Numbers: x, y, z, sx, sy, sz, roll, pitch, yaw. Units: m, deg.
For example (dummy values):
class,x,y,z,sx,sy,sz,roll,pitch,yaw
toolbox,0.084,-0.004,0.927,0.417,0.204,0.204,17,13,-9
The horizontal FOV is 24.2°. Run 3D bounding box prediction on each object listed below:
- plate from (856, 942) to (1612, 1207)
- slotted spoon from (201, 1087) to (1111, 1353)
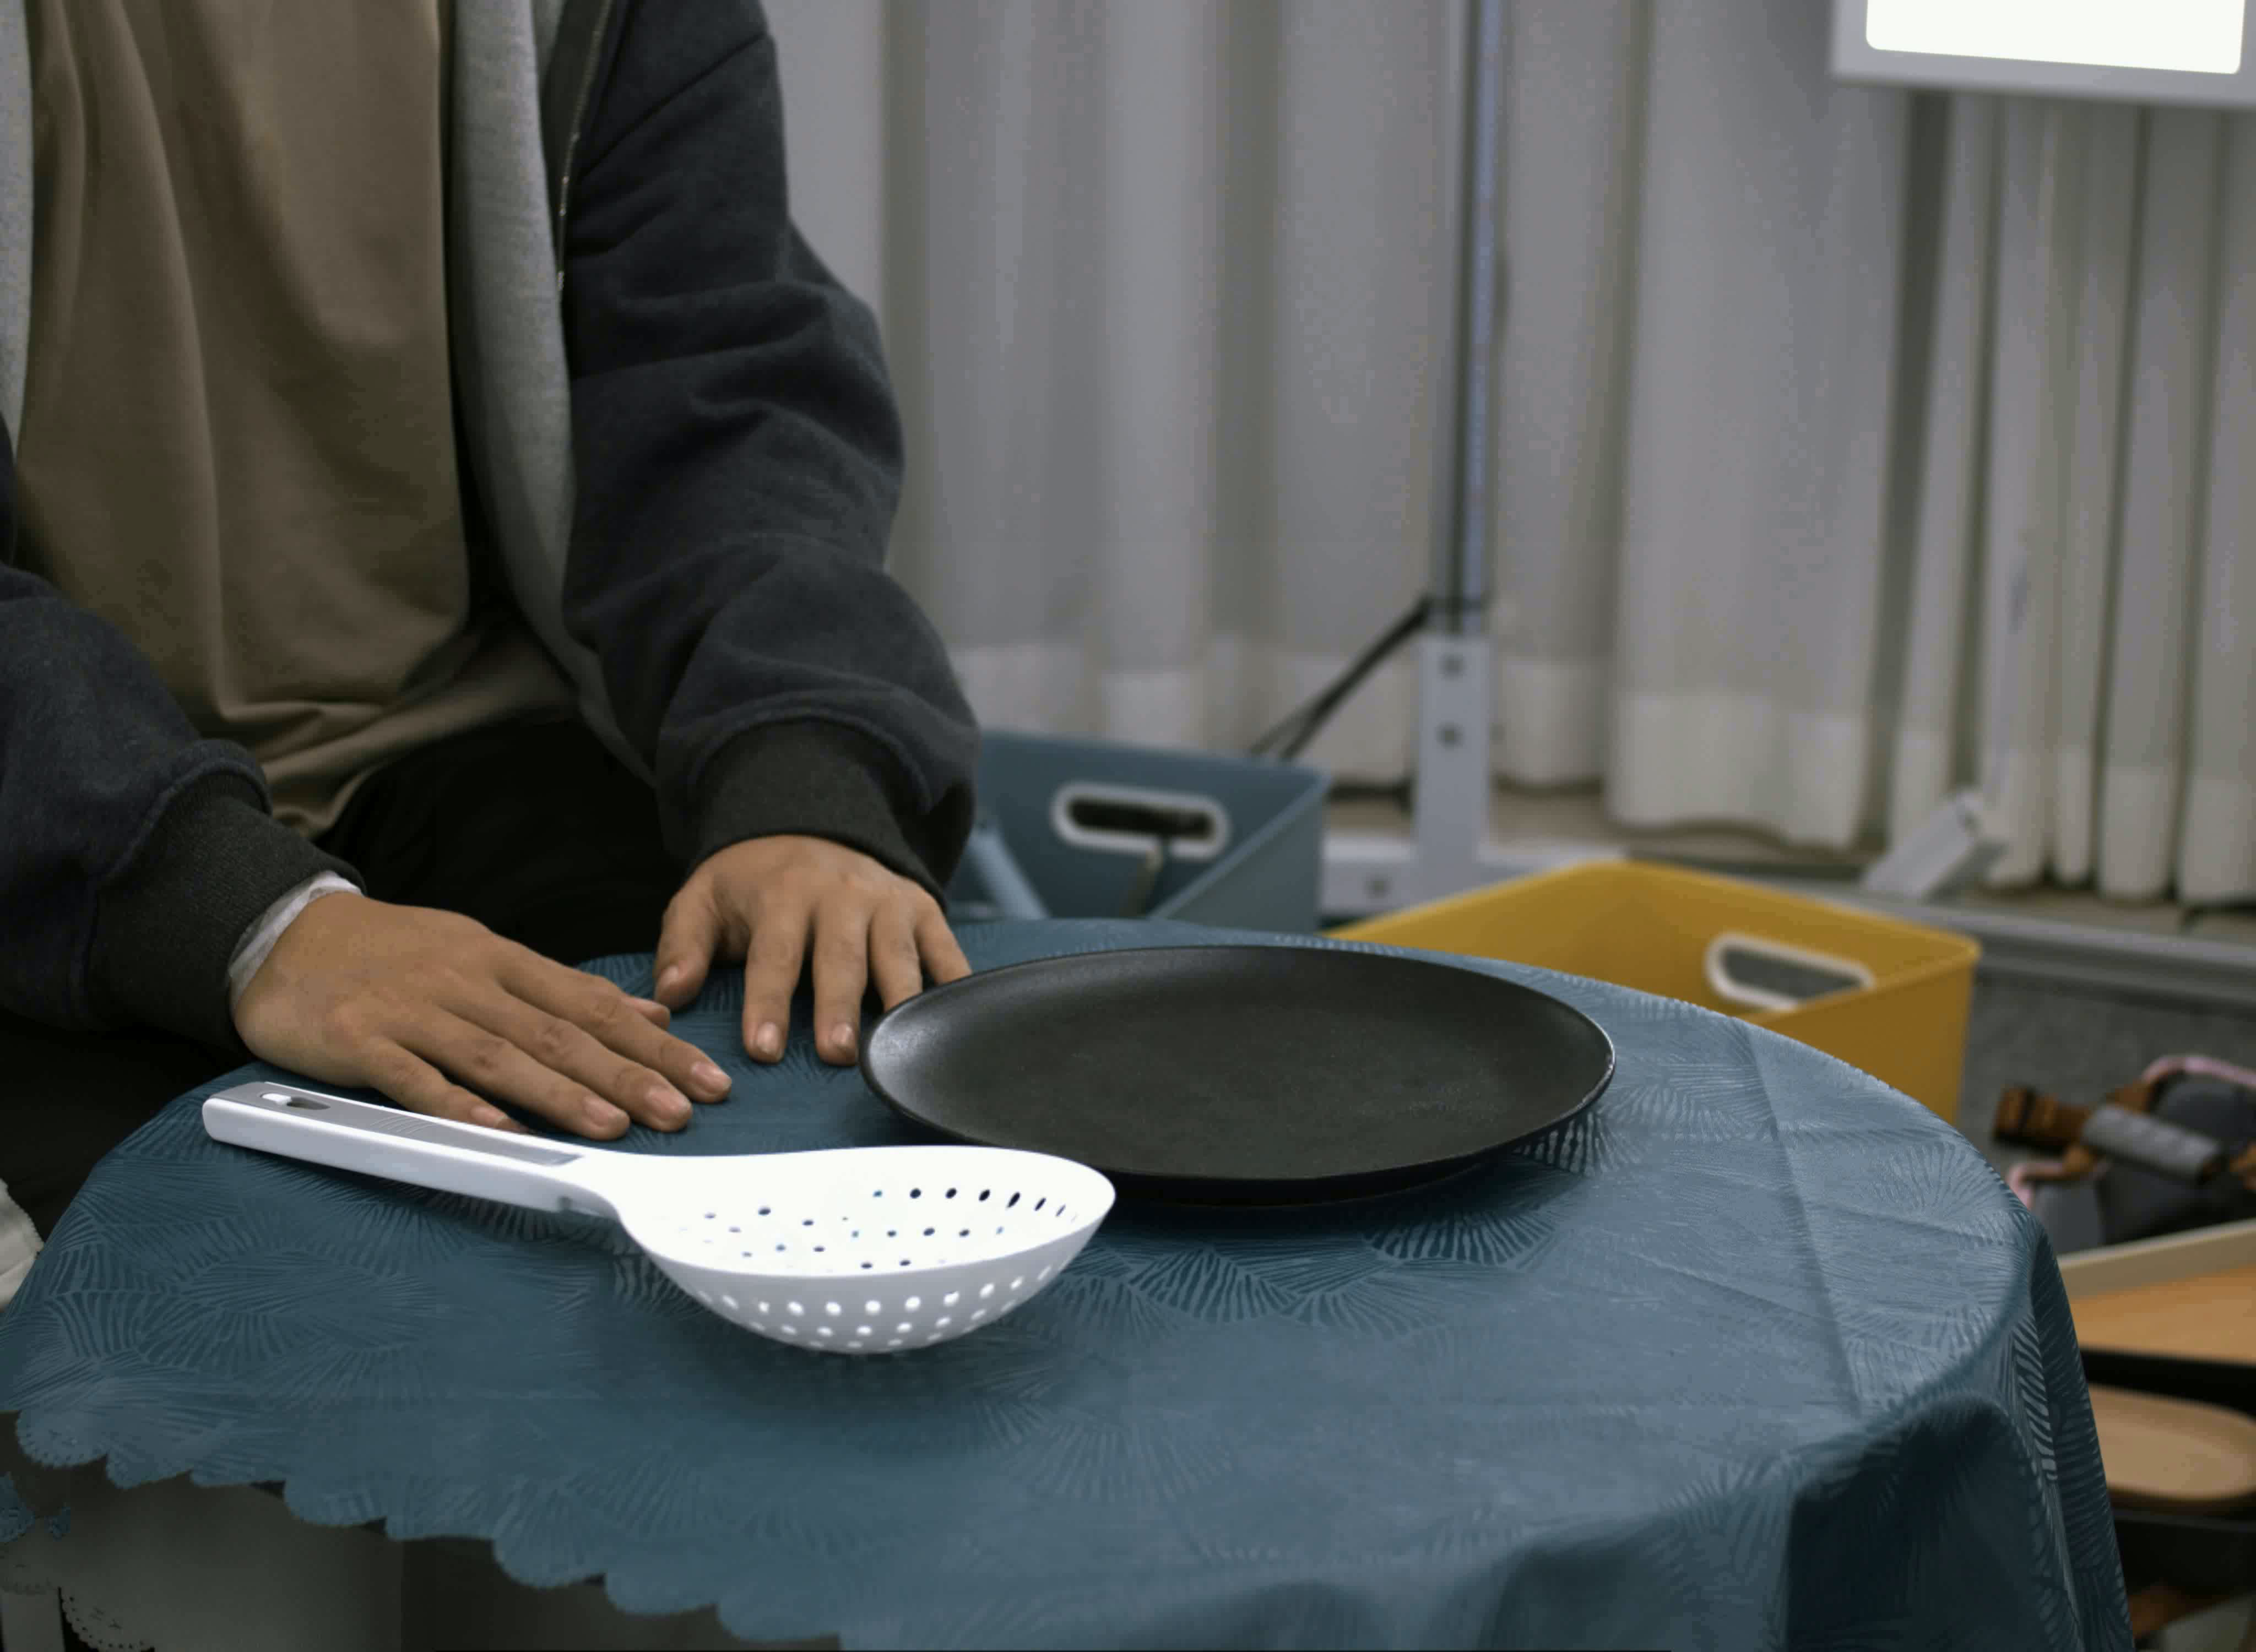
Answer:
class,x,y,z,sx,sy,sz,roll,pitch,yaw
plate,0.034,0.082,1.690,0.243,0.023,0.243,1,16,0
slotted spoon,-0.154,0.106,1.555,0.345,0.046,0.137,12,17,38
